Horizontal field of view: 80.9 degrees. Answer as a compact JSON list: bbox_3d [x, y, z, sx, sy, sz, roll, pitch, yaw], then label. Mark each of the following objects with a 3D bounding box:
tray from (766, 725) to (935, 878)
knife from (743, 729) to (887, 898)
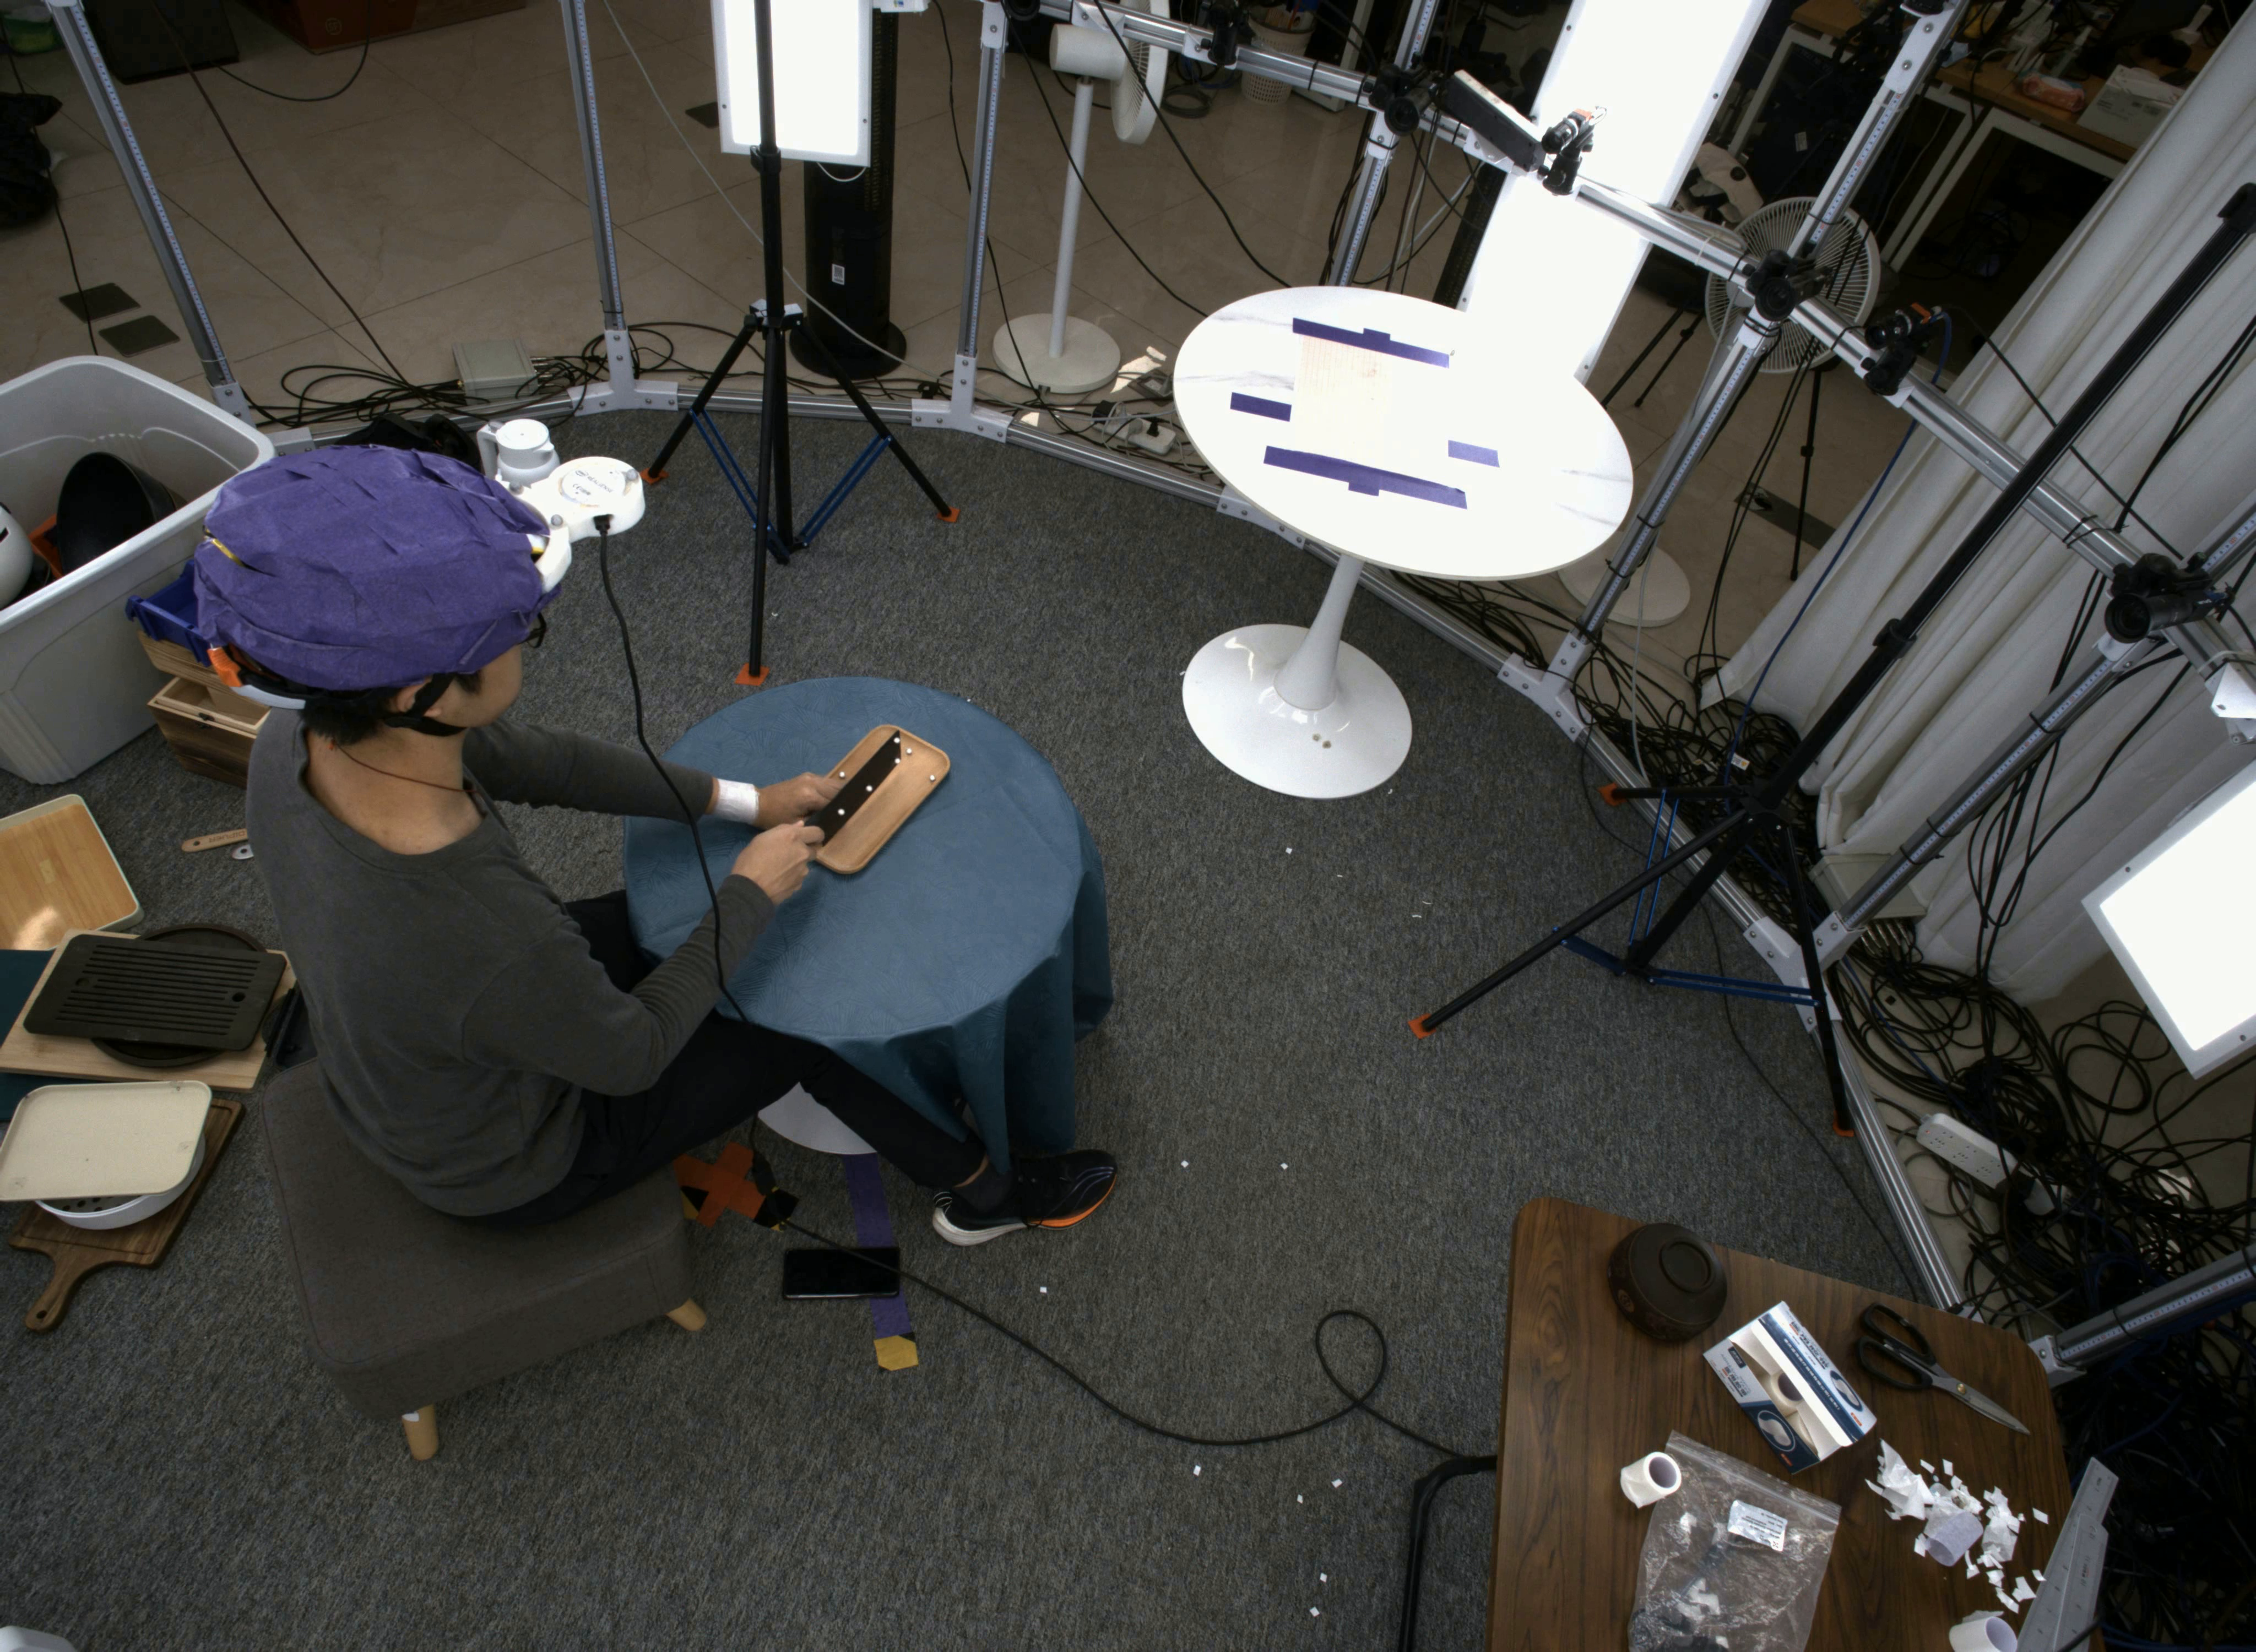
[{"bbox_3d":[-0.374,-0.037,1.765,0.128,0.023,0.250,28,54,10],"label":"tray"},{"bbox_3d":[-0.398,-0.015,1.678,0.020,0.083,0.301,23,47,15],"label":"knife"}]
